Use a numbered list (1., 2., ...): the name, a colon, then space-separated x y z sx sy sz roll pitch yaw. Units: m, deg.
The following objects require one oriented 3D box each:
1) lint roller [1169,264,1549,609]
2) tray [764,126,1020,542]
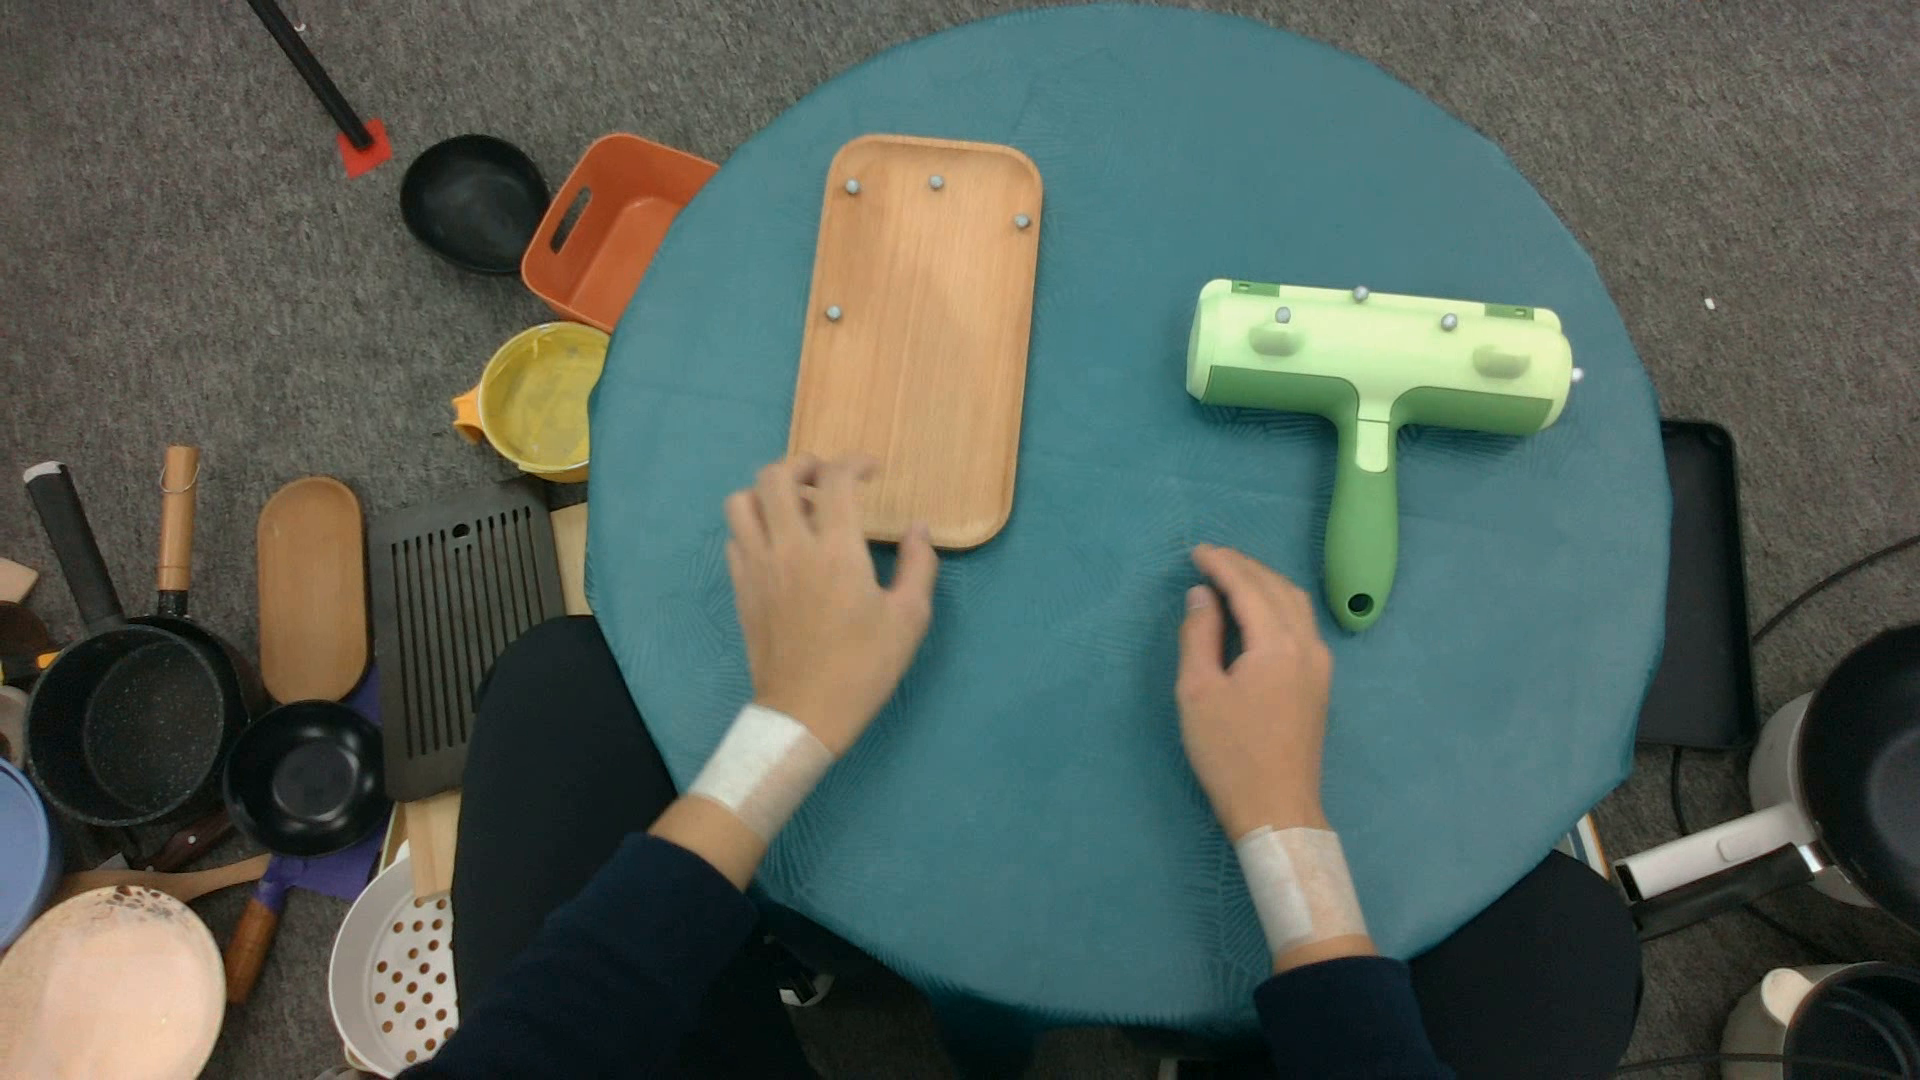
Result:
1. lint roller: 0.210 -0.061 0.722 0.198 0.082 0.184 4 67 2
2. tray: -0.035 -0.120 0.778 0.130 0.023 0.251 4 74 3
